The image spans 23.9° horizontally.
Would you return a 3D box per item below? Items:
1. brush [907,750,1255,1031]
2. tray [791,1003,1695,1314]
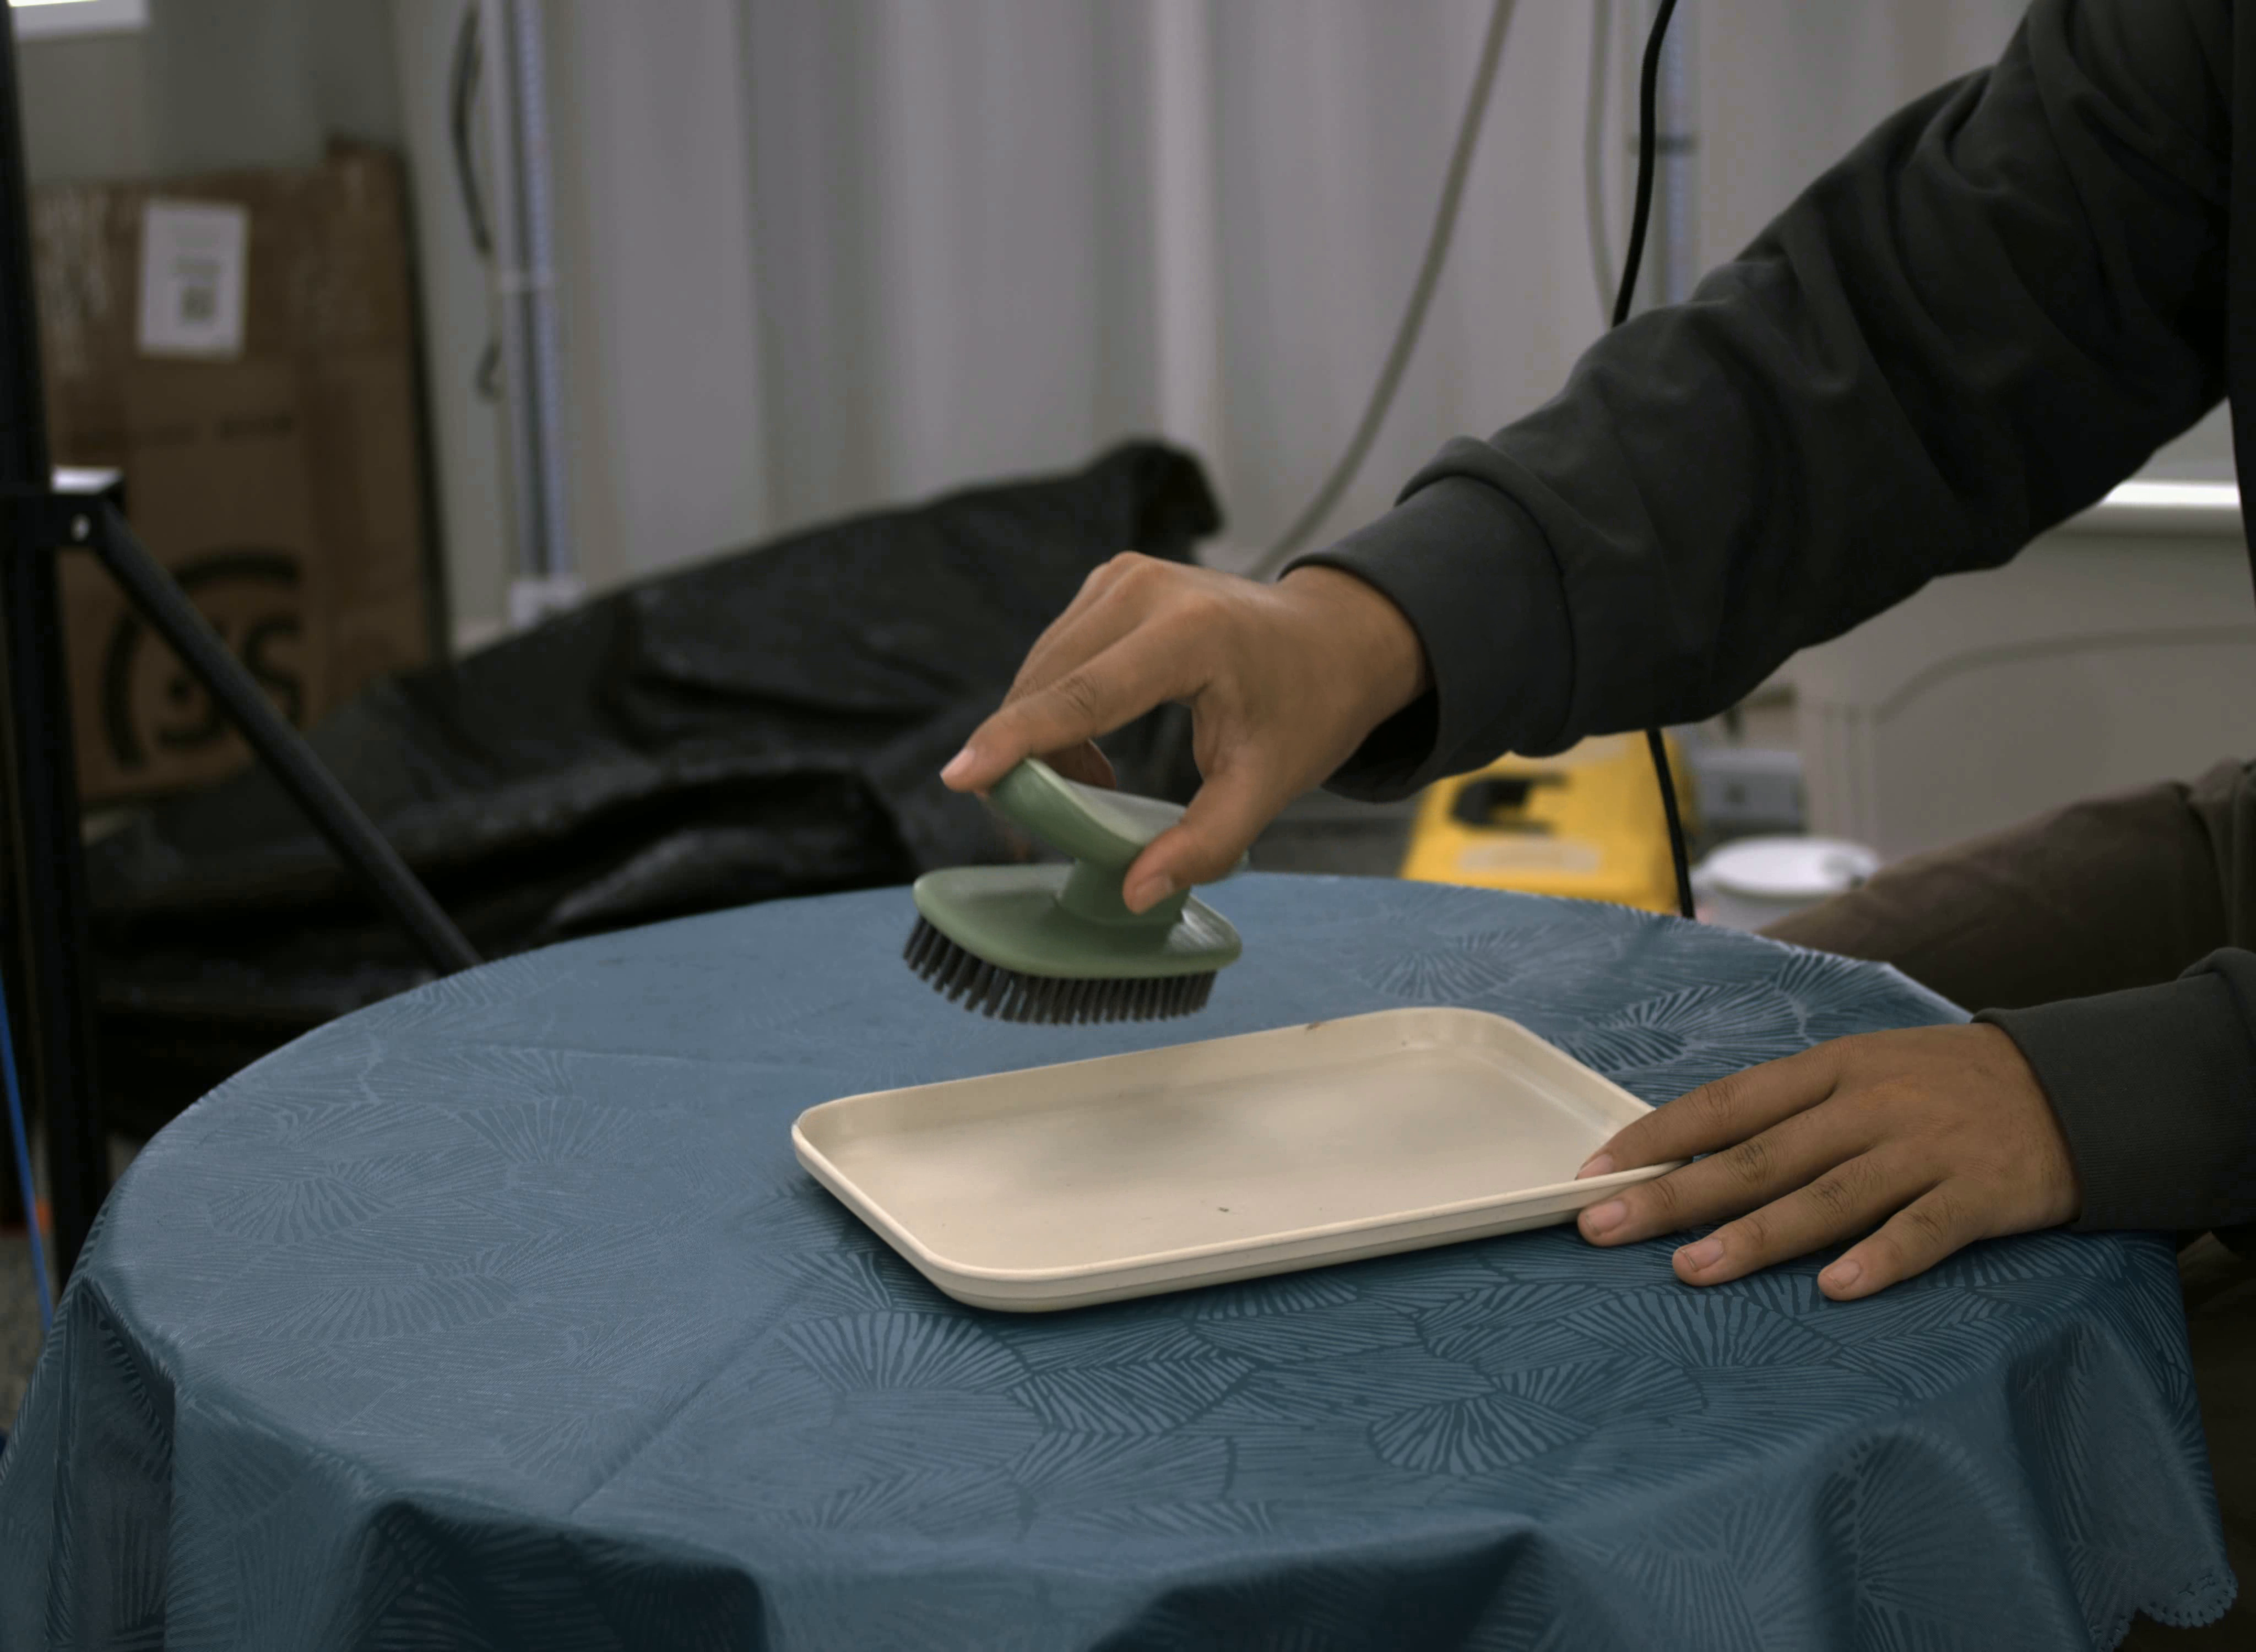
[{"bbox_3d":[-0.012,0.025,1.580,0.061,0.076,0.120,37,12,36],"label":"brush"},{"bbox_3d":[0.033,0.097,1.557,0.235,0.017,0.174,-8,17,-20],"label":"tray"}]
